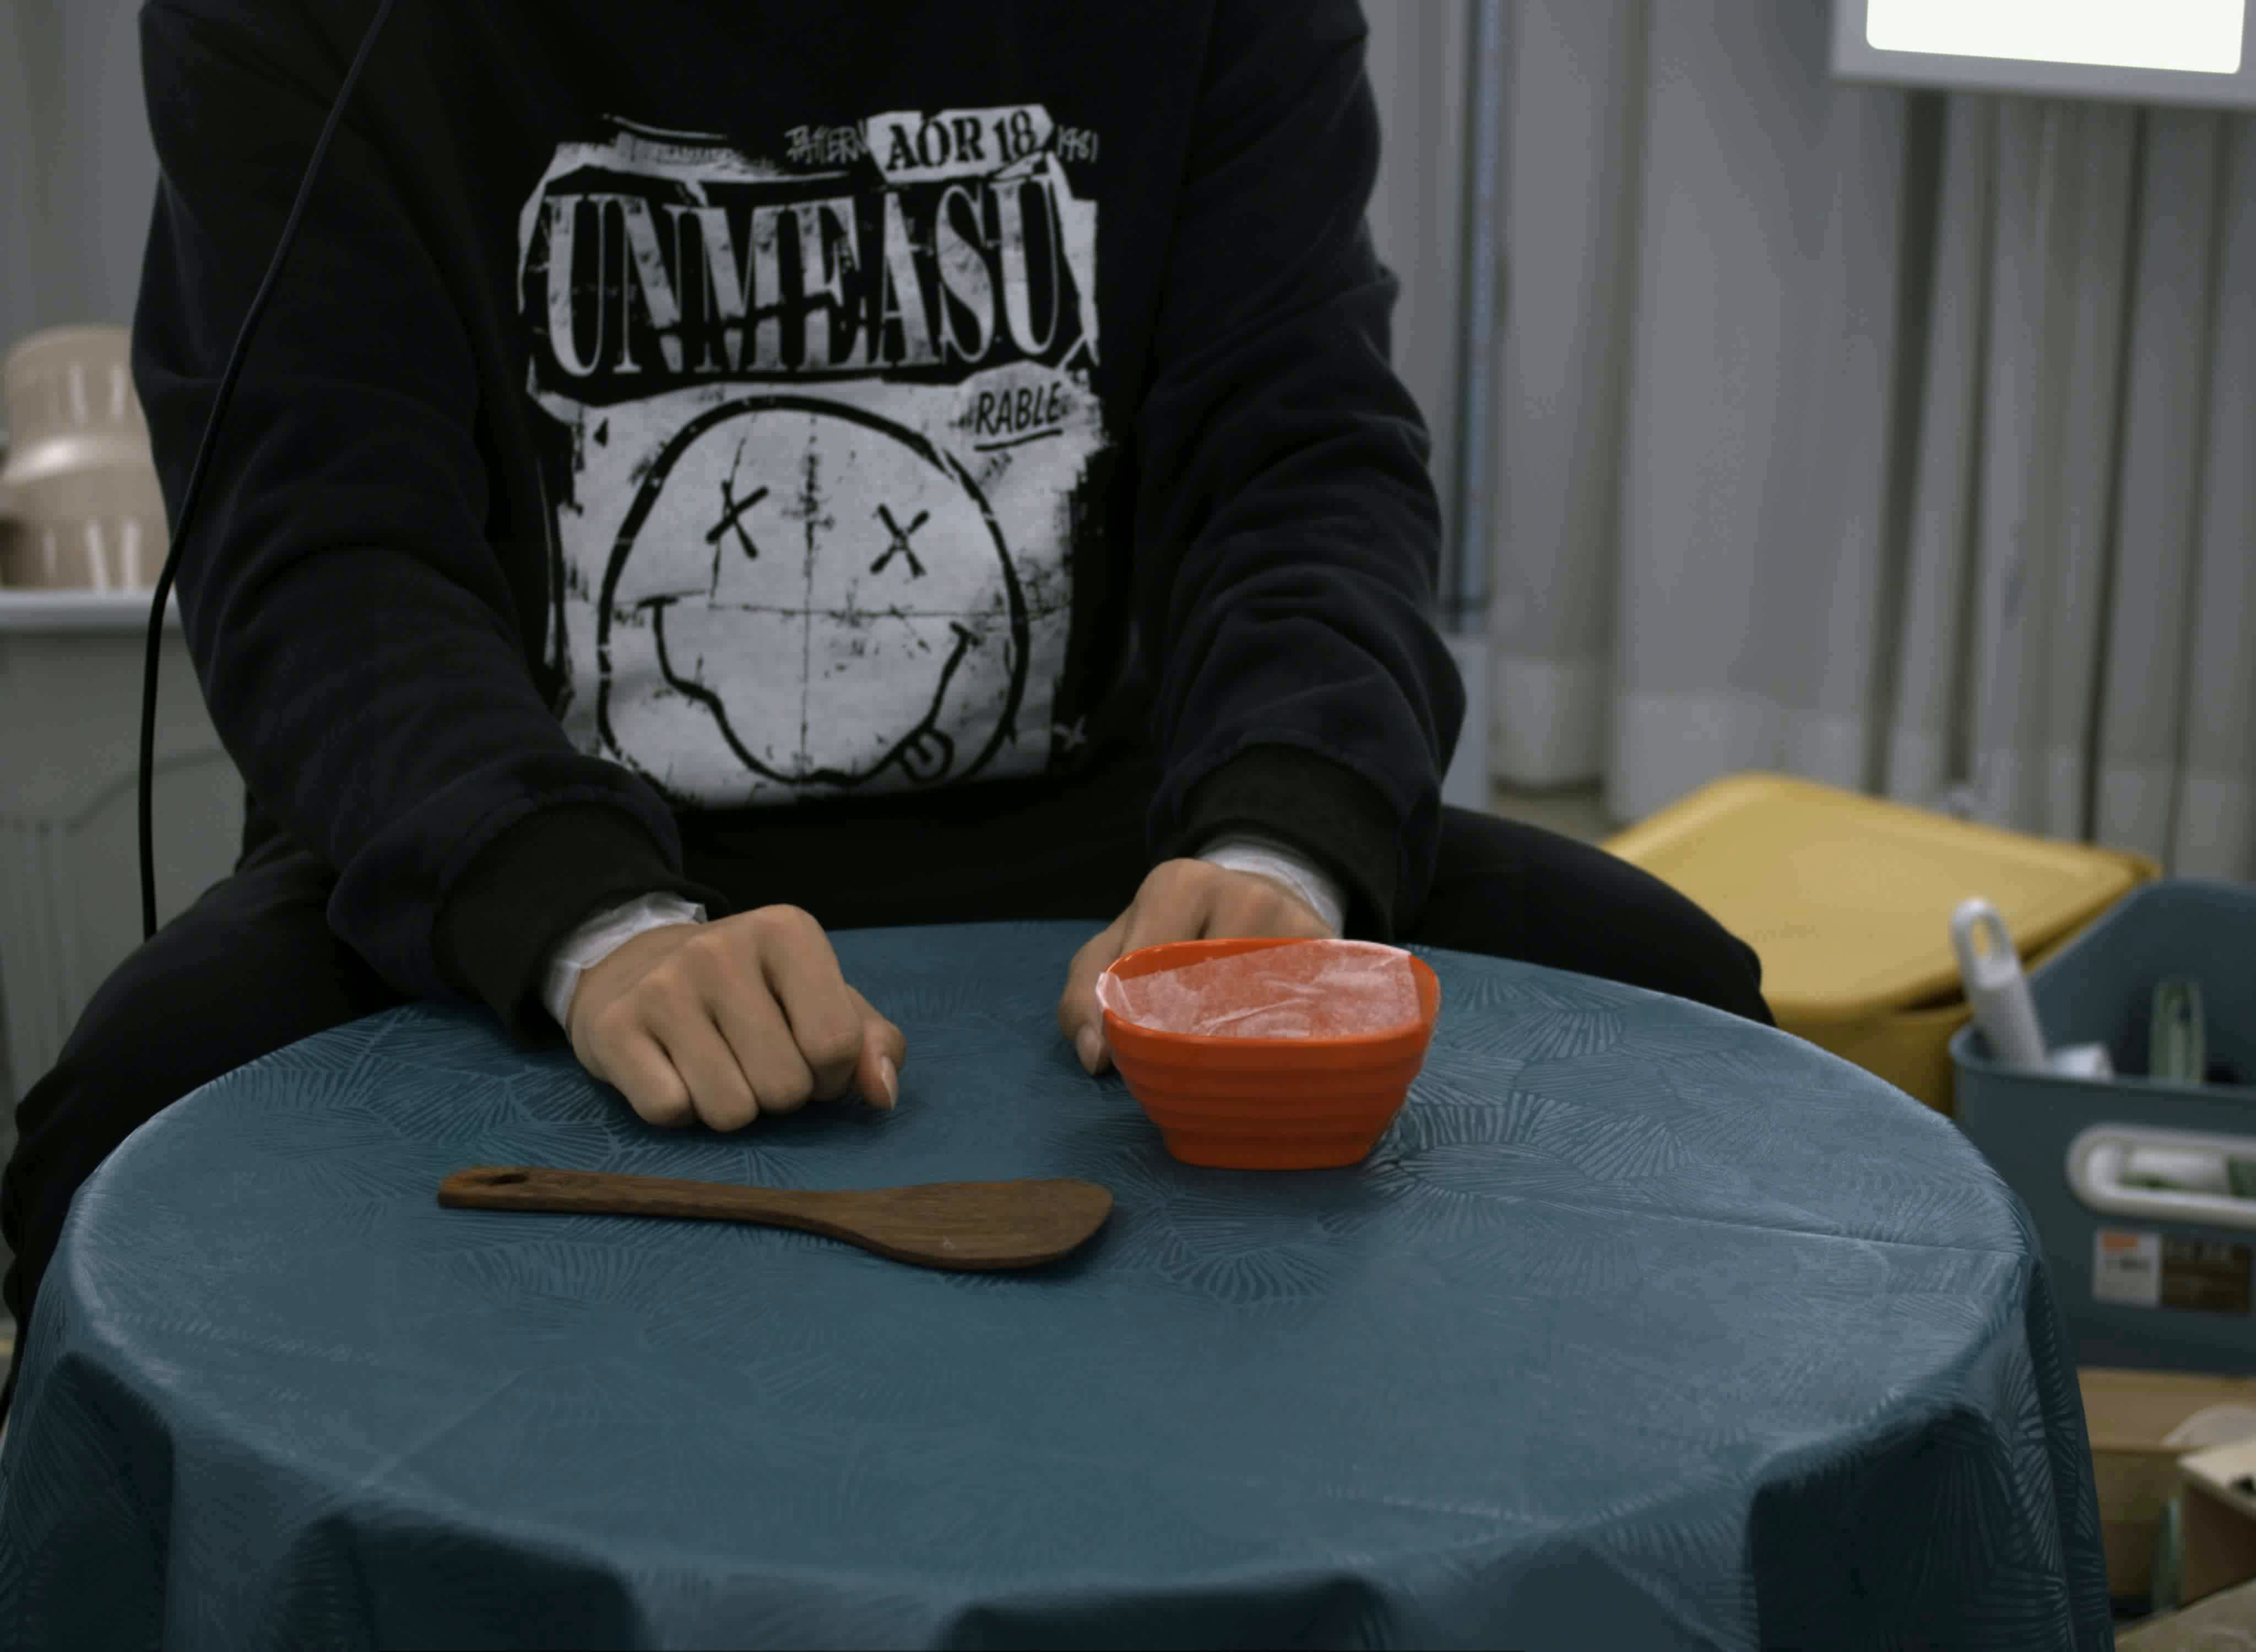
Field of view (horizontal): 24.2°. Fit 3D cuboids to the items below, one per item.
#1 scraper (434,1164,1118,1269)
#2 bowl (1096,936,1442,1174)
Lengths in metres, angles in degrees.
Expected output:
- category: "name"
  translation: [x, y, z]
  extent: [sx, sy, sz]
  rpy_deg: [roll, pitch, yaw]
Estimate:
- category: "scraper"
  translation: [-0.109, 0.115, 1.598]
  extent: [0.210, 0.011, 0.076]
  rpy_deg: [3, 15, 11]
- category: "bowl"
  translation: [0.044, 0.075, 1.671]
  extent: [0.118, 0.052, 0.118]
  rpy_deg: [1, 17, 0]
